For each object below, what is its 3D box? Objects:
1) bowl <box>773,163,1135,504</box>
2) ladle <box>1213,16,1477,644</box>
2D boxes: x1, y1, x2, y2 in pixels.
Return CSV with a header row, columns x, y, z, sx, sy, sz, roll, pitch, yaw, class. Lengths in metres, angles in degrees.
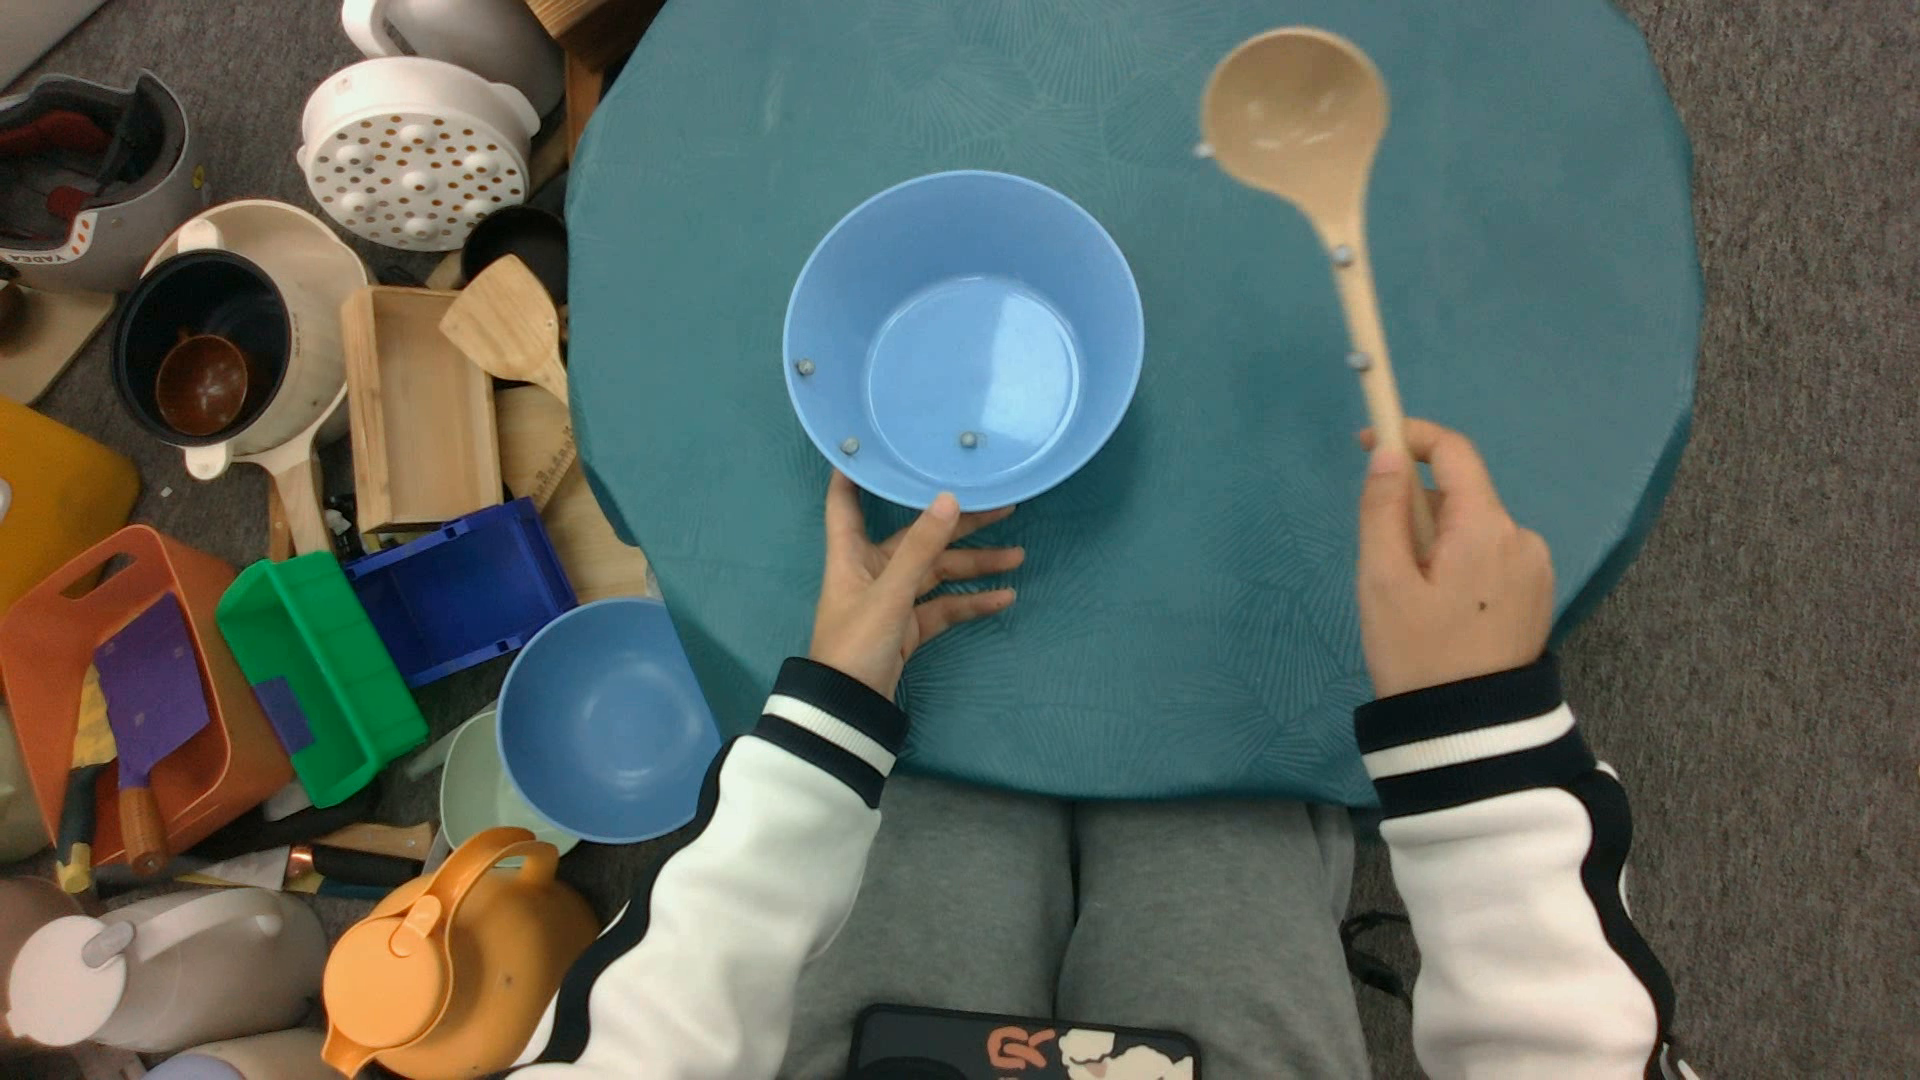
x,y,z,sx,sy,sz,roll,pitch,yaw,class
-0.001,-0.095,0.693,0.176,0.070,0.176,-2,75,6,bowl
0.154,-0.086,0.537,0.072,0.073,0.255,-19,69,33,ladle
